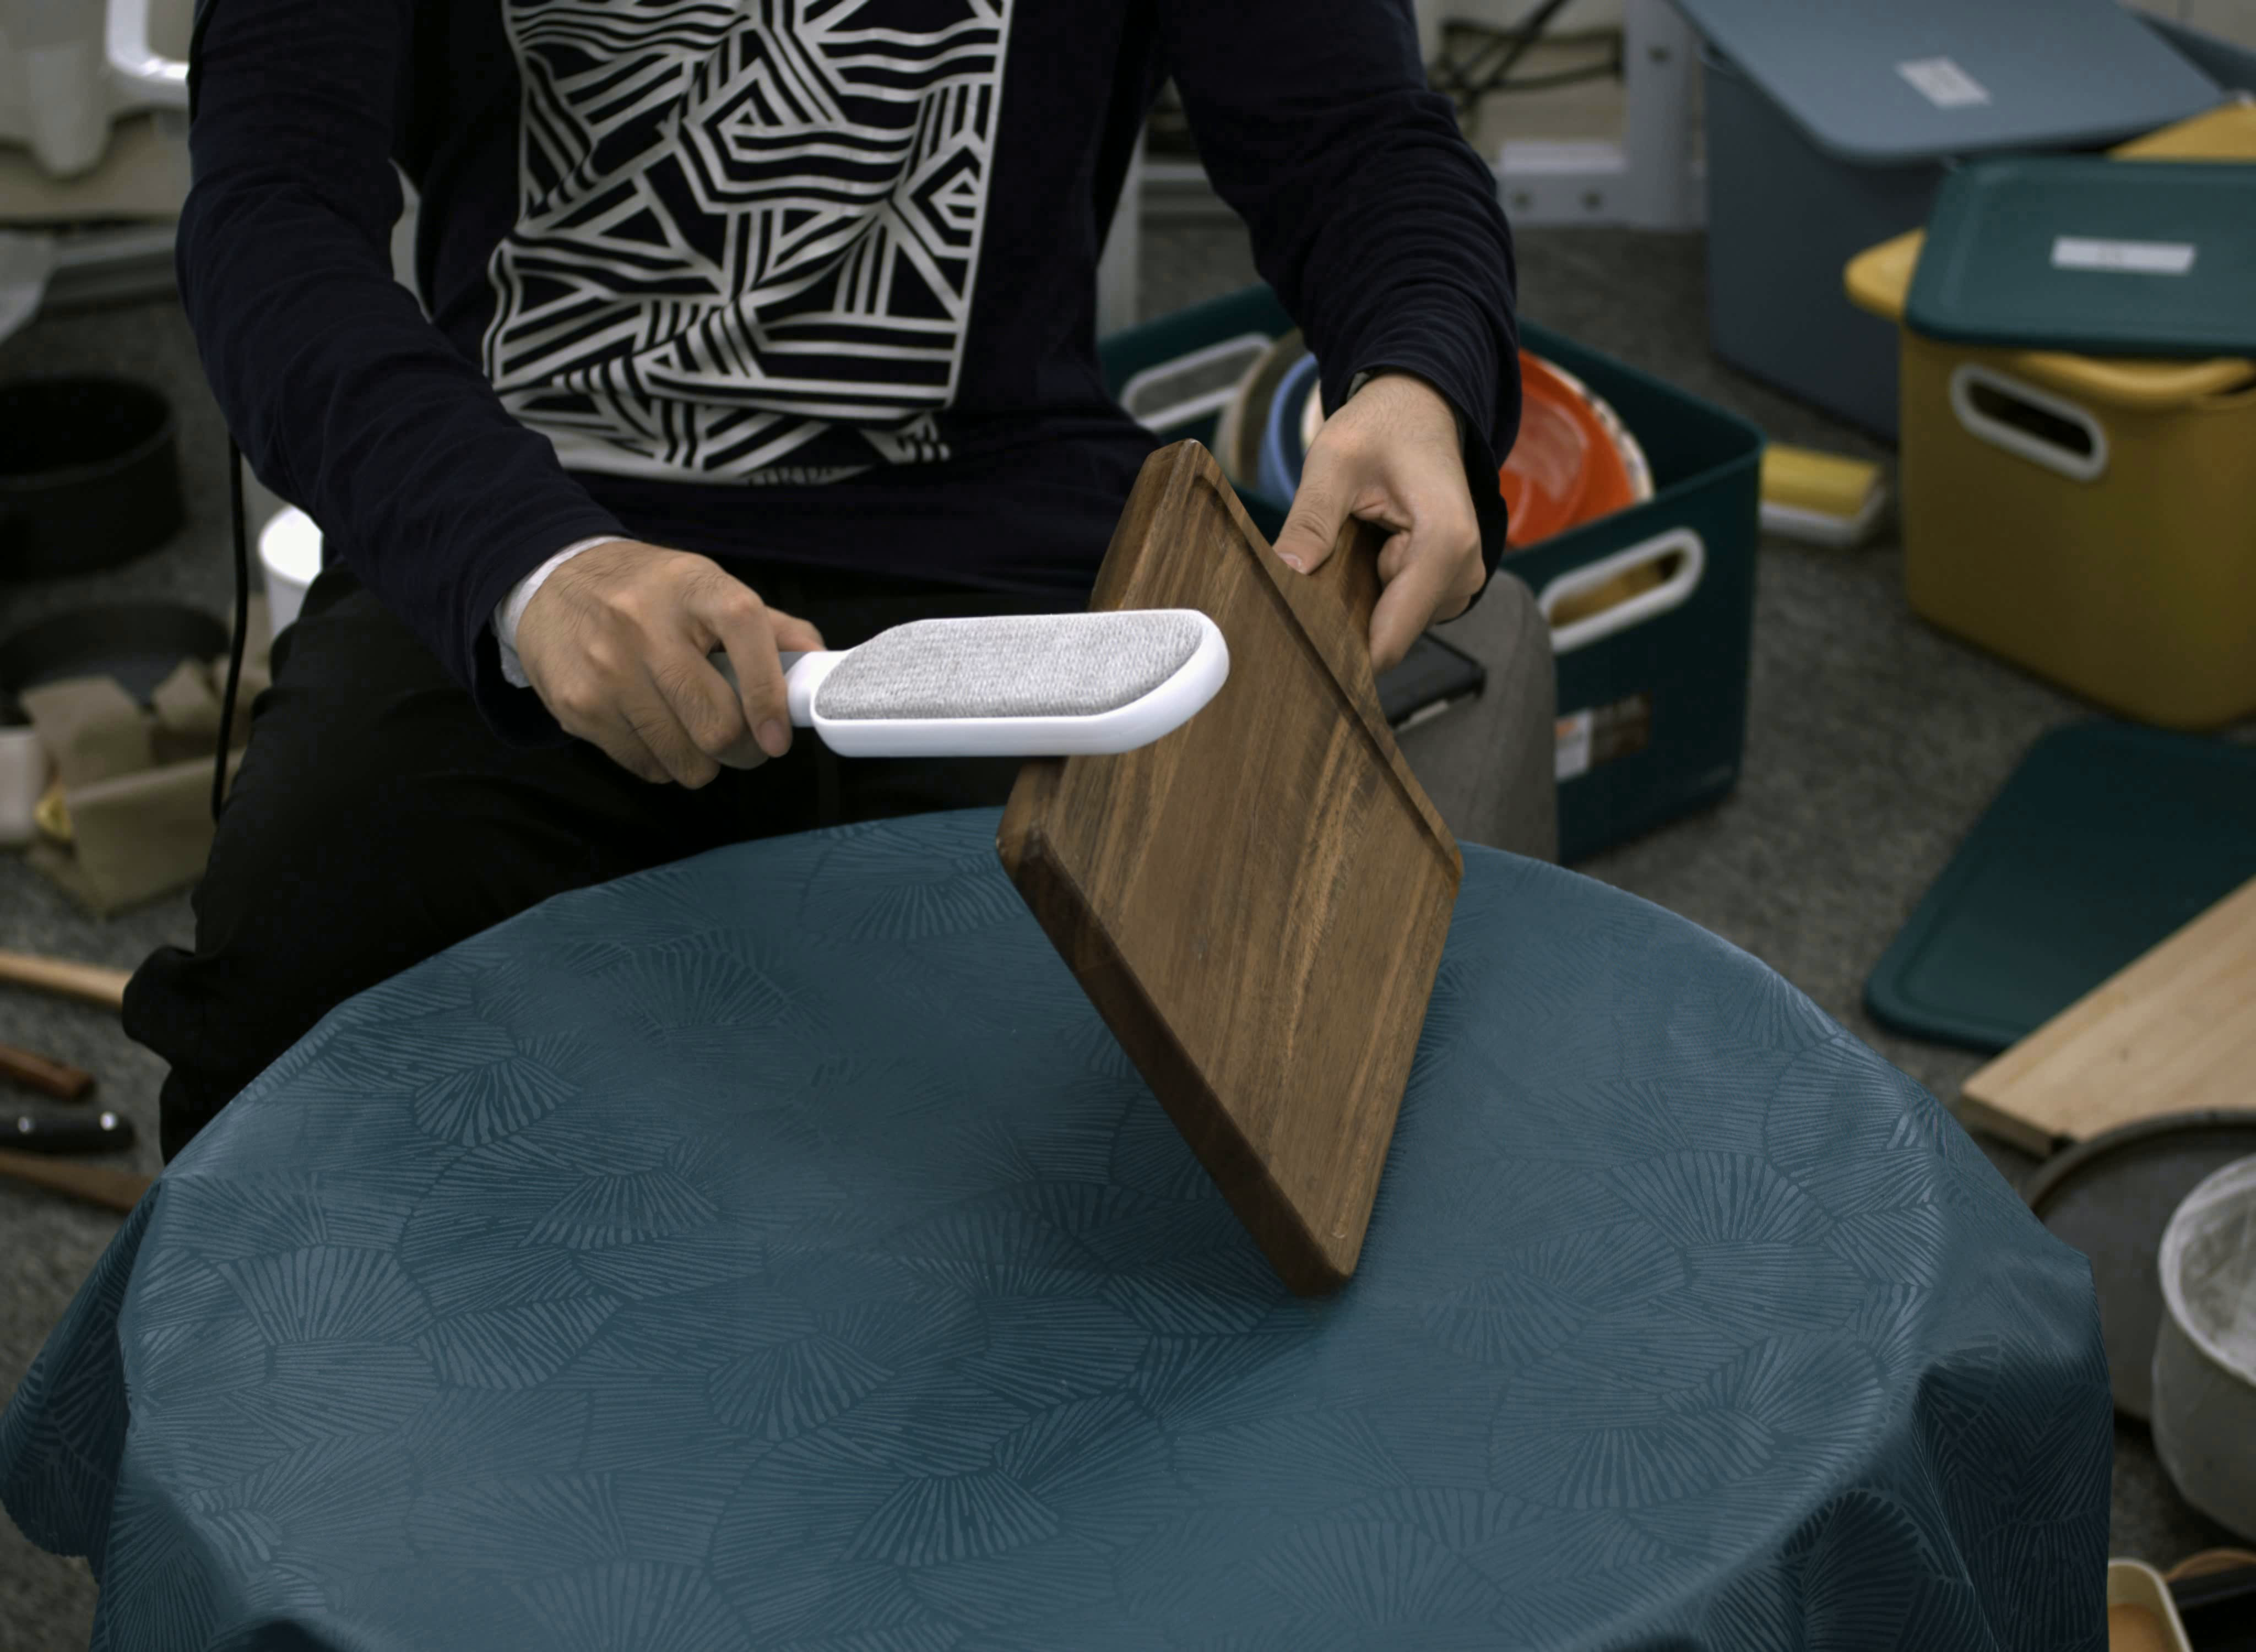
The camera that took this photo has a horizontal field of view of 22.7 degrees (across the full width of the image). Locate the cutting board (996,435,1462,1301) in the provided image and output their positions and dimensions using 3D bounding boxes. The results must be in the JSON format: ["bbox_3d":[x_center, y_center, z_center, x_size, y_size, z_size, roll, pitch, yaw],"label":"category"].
[{"bbox_3d":[0.048,-0.017,1.898,0.023,0.200,0.359,-23,24,25],"label":"cutting board"}]

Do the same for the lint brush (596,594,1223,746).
[{"bbox_3d":[-0.078,-0.050,1.832,0.306,0.021,0.061,1,45,49],"label":"lint brush"}]
